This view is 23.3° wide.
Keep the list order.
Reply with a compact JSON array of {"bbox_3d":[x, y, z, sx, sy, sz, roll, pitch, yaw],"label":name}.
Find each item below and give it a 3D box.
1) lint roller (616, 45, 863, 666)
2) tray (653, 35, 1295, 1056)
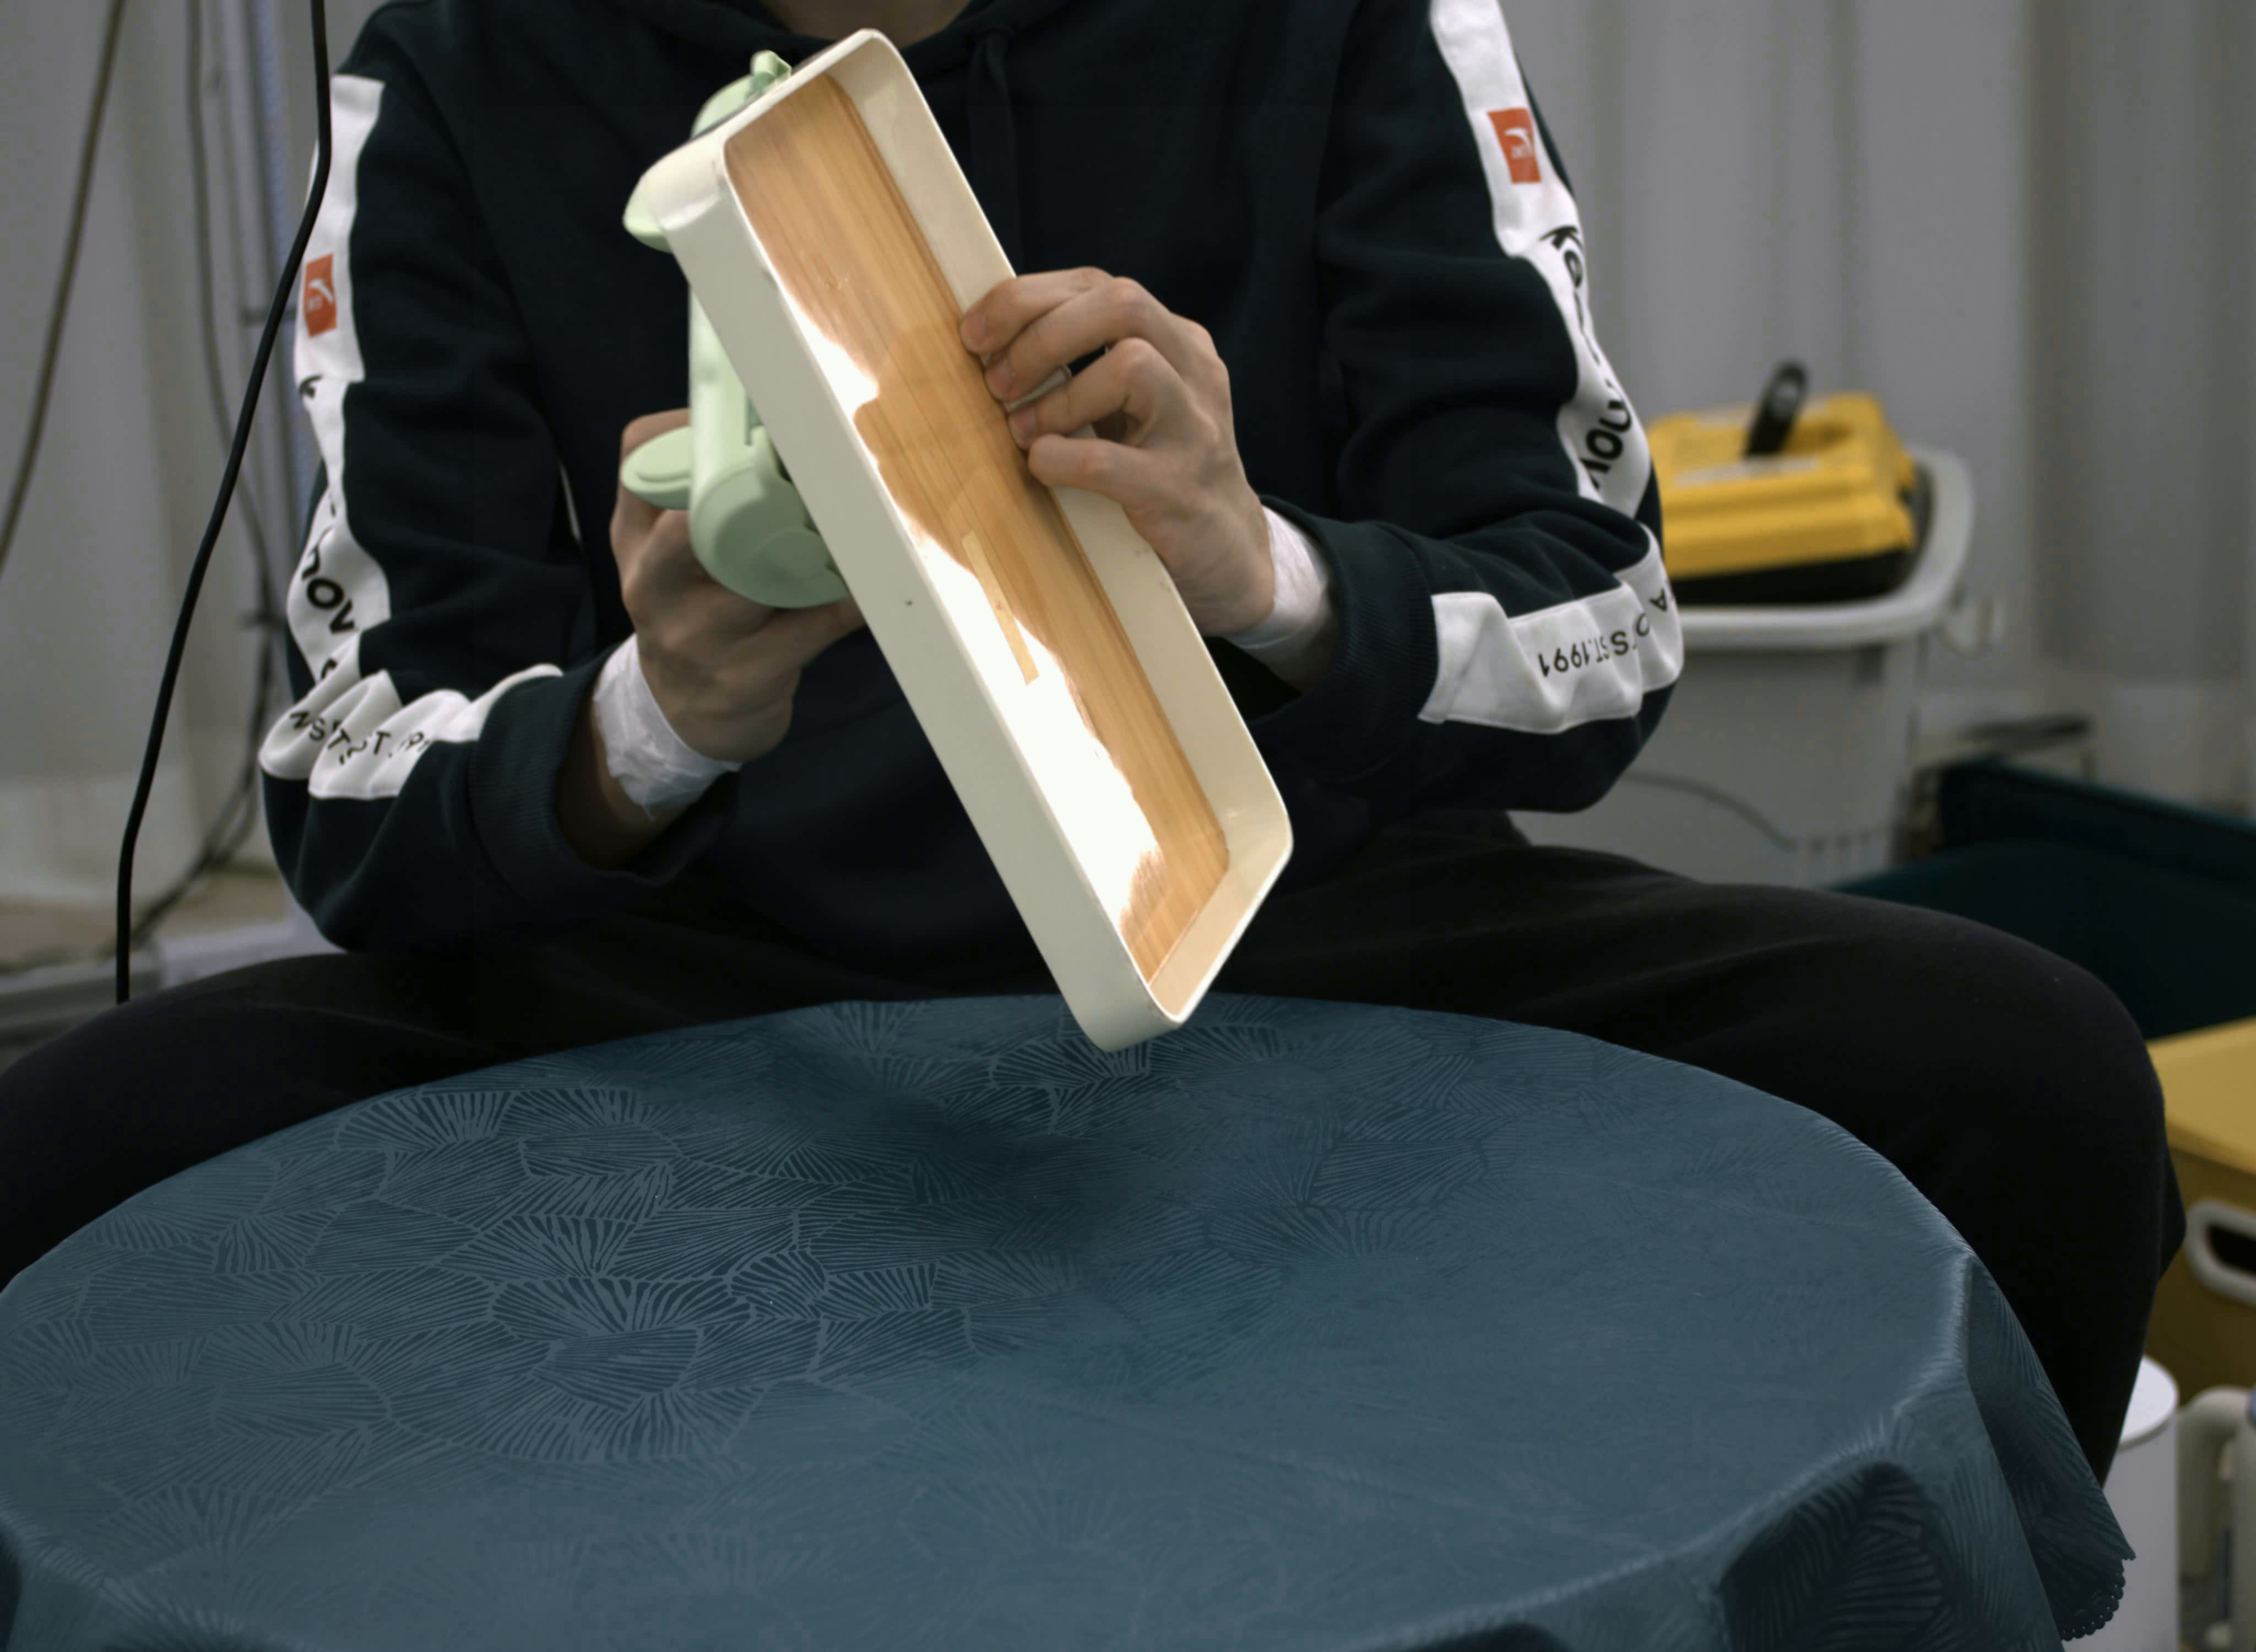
[{"bbox_3d":[-0.126,-0.119,1.738,0.082,0.181,0.202,4,47,-9],"label":"lint roller"},{"bbox_3d":[-0.042,-0.090,1.680,0.027,0.299,0.192,-24,10,20],"label":"tray"}]
